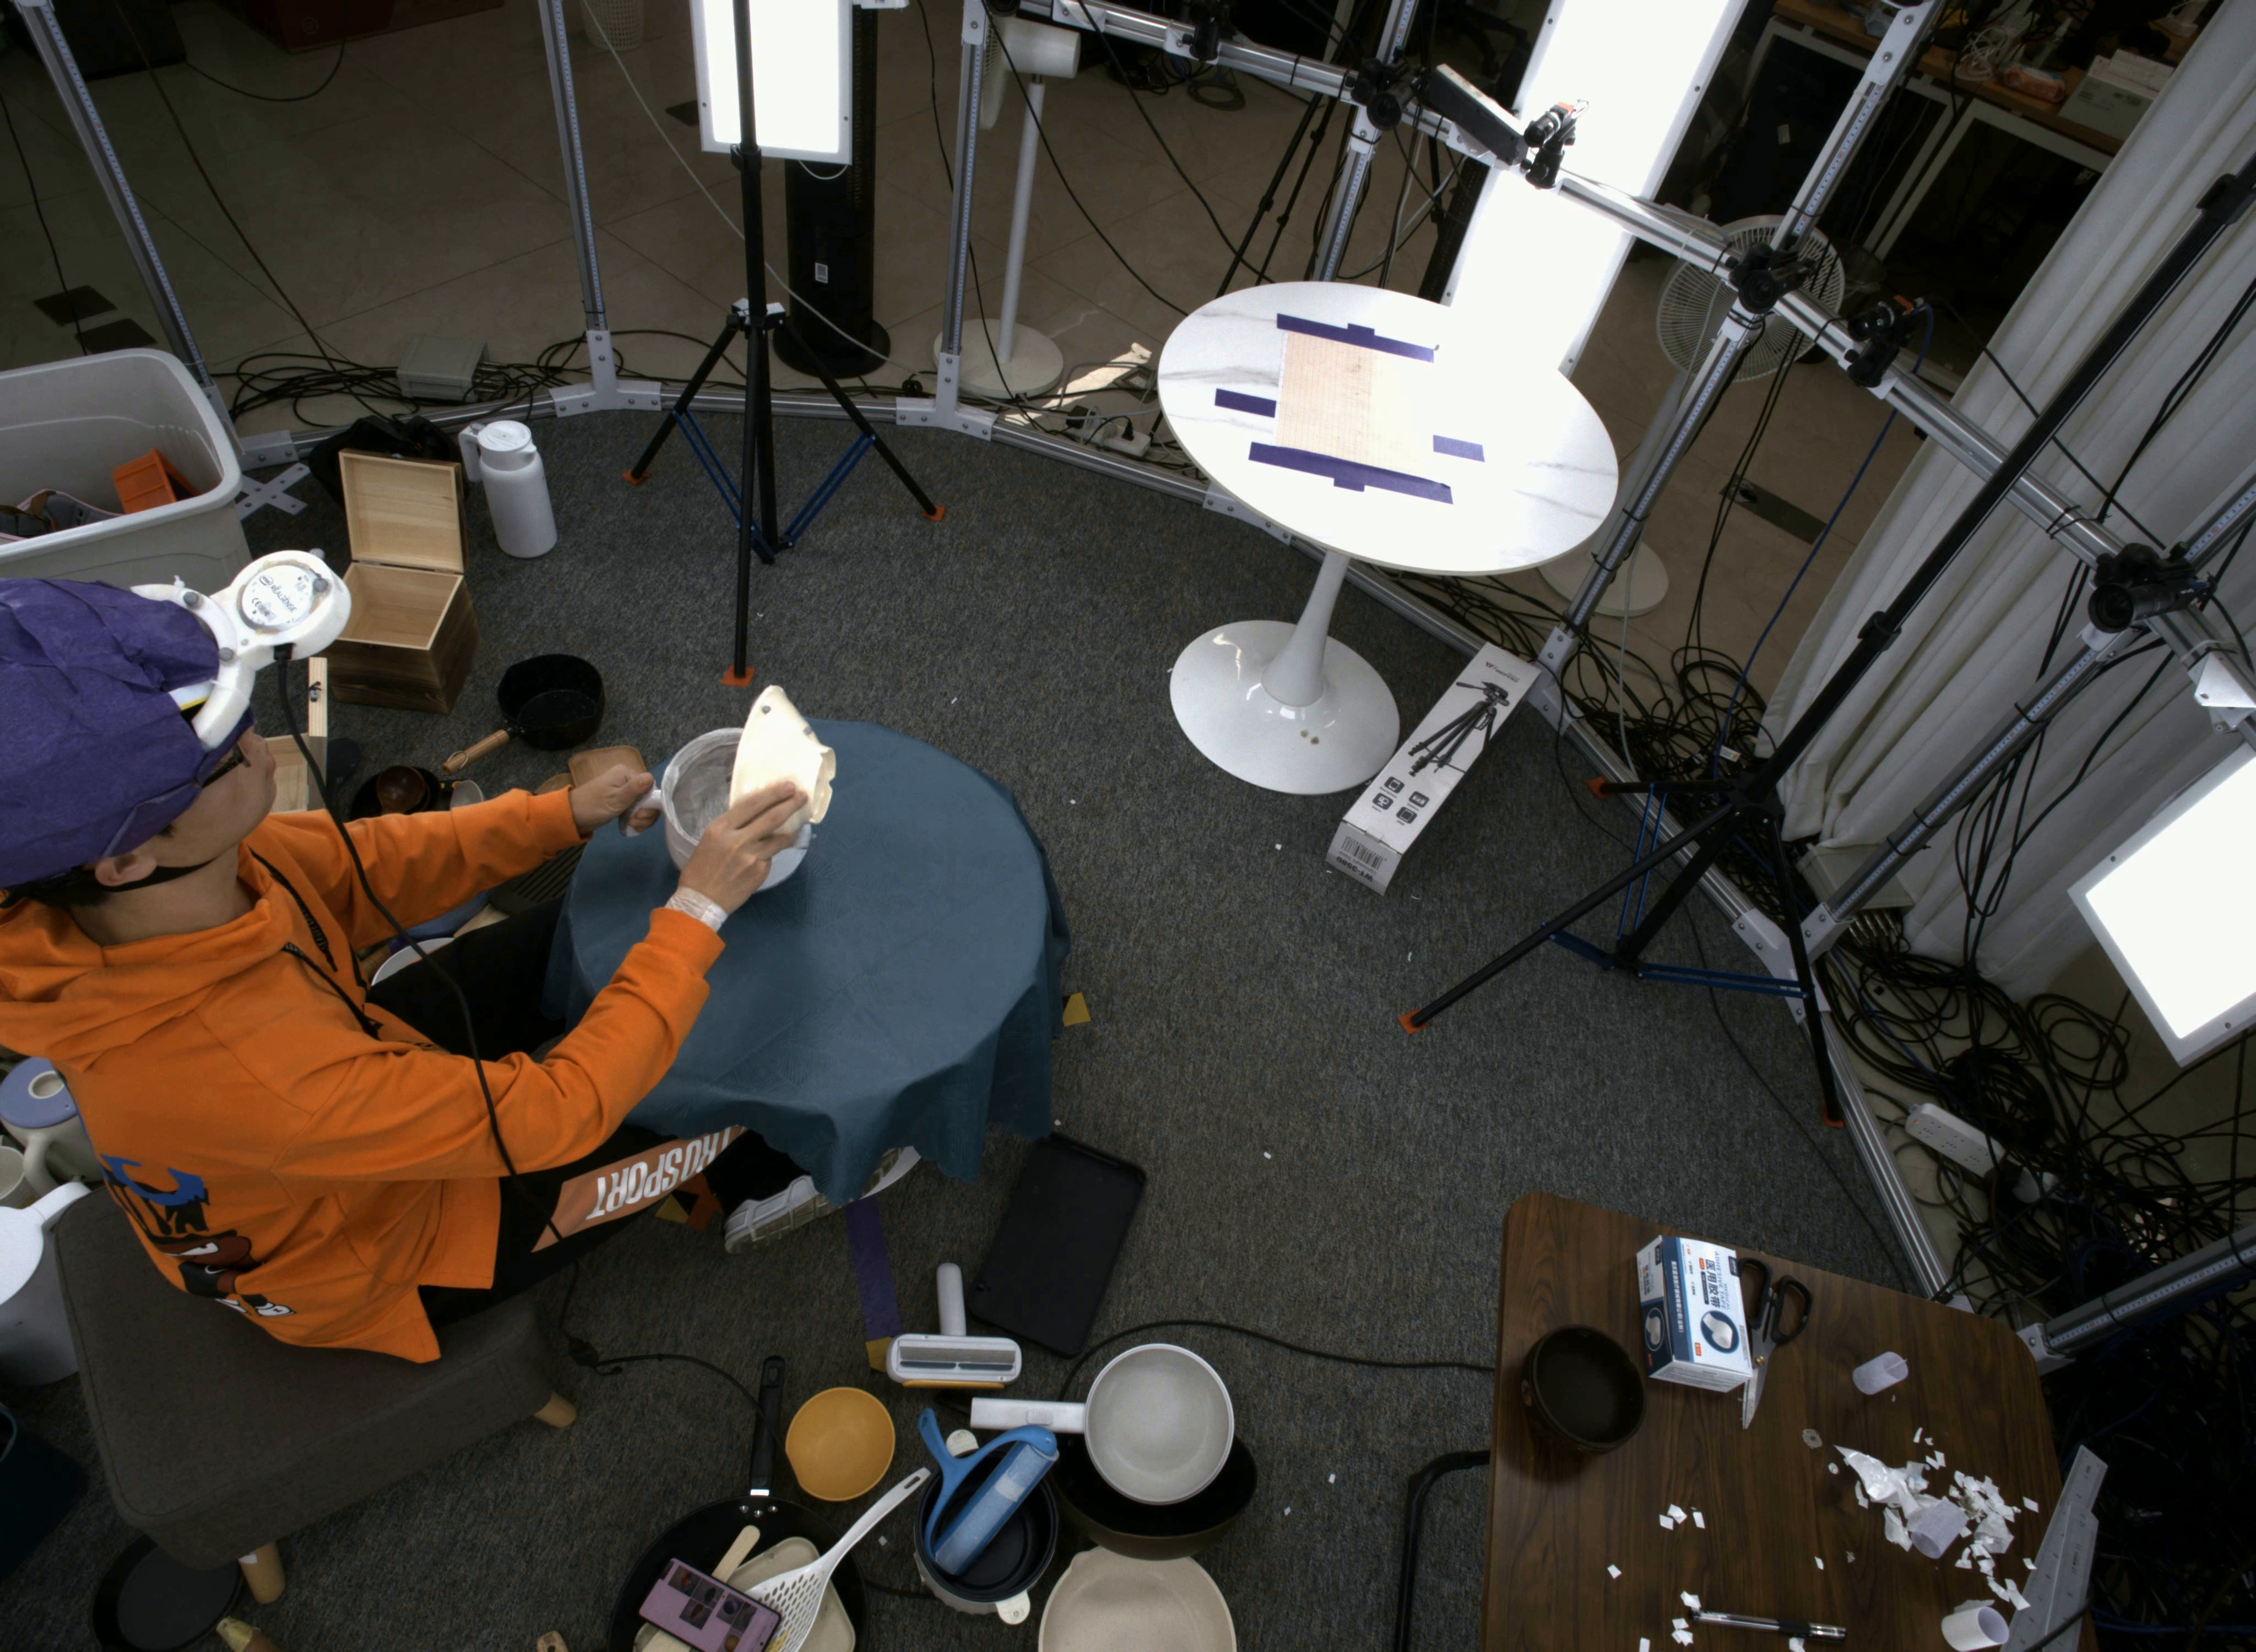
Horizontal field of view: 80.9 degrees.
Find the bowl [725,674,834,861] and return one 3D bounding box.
[{"bbox_3d":[-0.376,-0.061,1.438,0.077,0.209,0.201,7,51,1],"label":"bowl"}]

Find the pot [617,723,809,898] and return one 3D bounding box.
[{"bbox_3d":[-0.504,-0.016,1.562,0.235,0.138,0.176,3,61,-17],"label":"pot"}]
